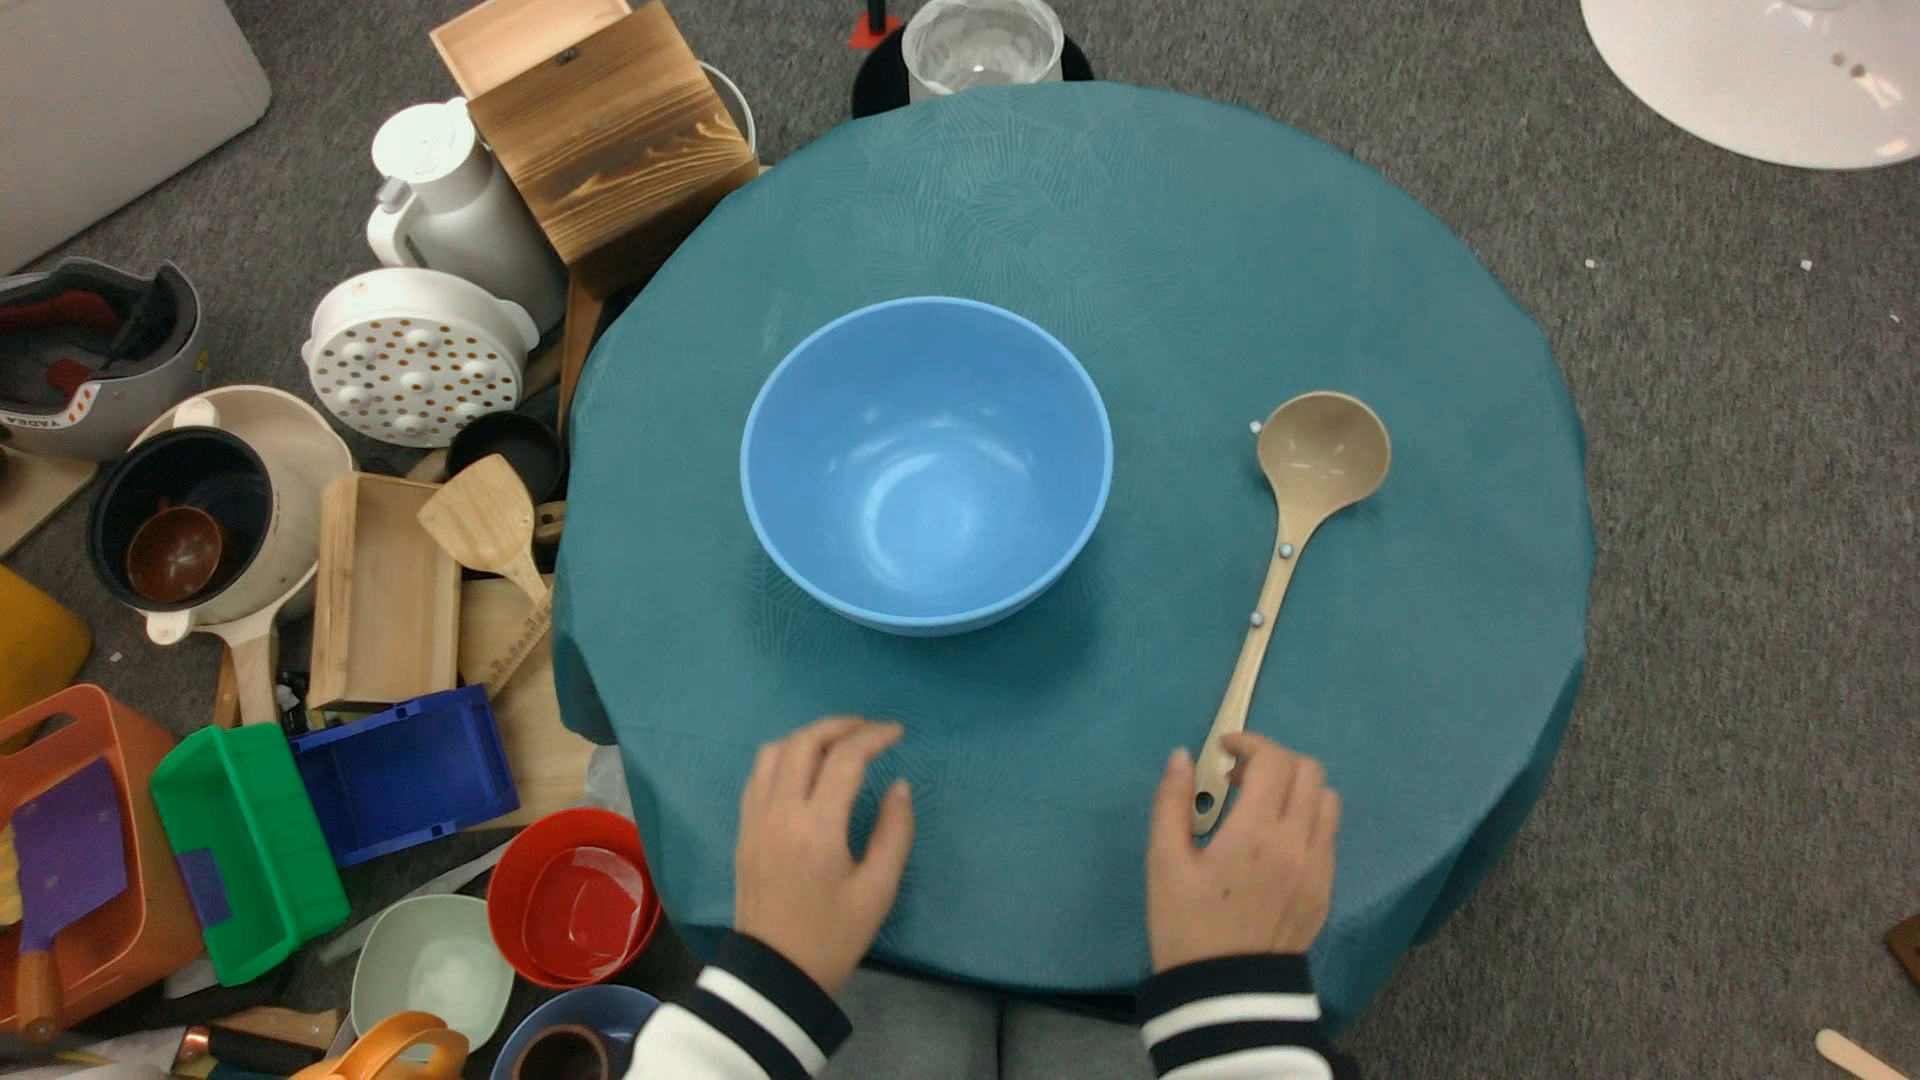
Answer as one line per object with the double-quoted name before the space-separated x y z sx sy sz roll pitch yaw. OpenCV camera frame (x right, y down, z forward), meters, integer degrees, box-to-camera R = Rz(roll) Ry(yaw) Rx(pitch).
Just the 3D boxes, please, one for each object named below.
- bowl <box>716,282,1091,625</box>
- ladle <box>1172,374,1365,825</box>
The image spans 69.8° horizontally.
"bowl" -0.029 -0.035 0.762 0.196 0.095 0.197 0 66 -1
"ladle" 0.158 0.025 0.740 0.072 0.072 0.255 17 67 9
